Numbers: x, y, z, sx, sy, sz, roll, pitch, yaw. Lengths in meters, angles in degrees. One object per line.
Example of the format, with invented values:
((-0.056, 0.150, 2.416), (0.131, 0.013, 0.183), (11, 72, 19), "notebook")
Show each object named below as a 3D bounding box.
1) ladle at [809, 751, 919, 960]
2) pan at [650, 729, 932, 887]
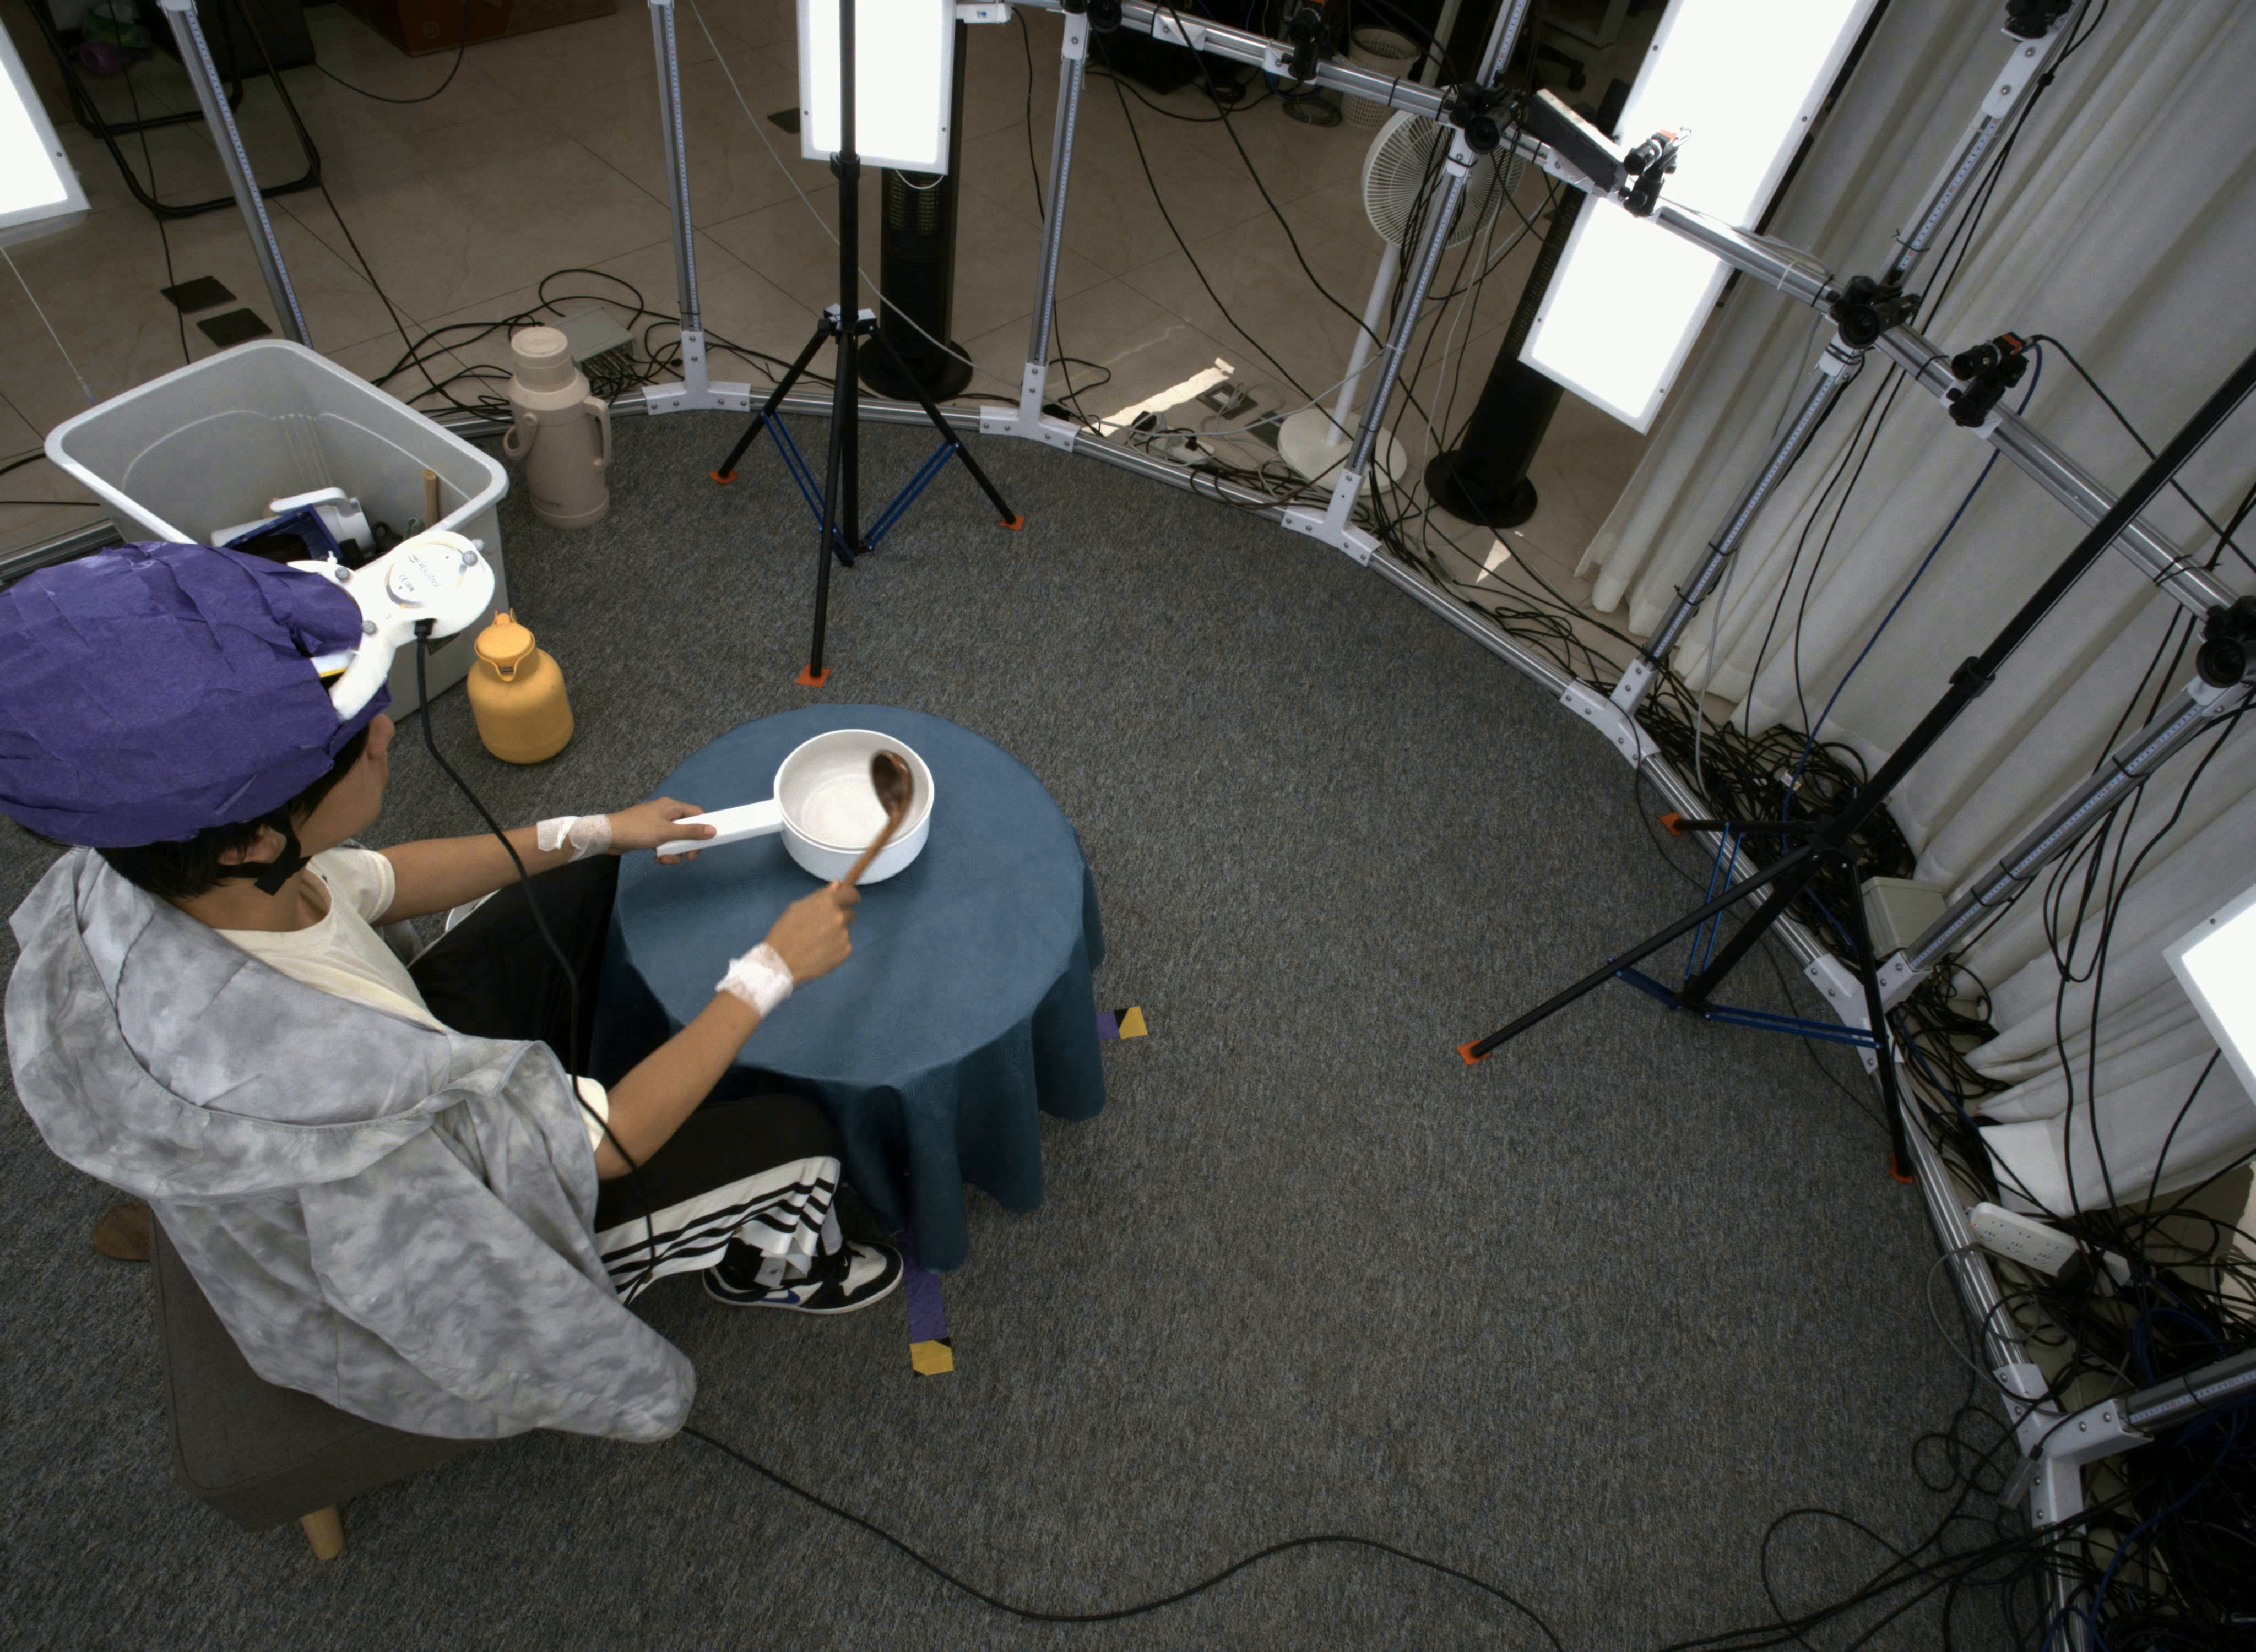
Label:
((-0.321, 0.026, 1.505), (0.076, 0.083, 0.272), (27, 57, 4), "ladle")
((-0.426, -0.001, 1.664), (0.356, 0.104, 0.196), (-15, 59, -22), "pan")
